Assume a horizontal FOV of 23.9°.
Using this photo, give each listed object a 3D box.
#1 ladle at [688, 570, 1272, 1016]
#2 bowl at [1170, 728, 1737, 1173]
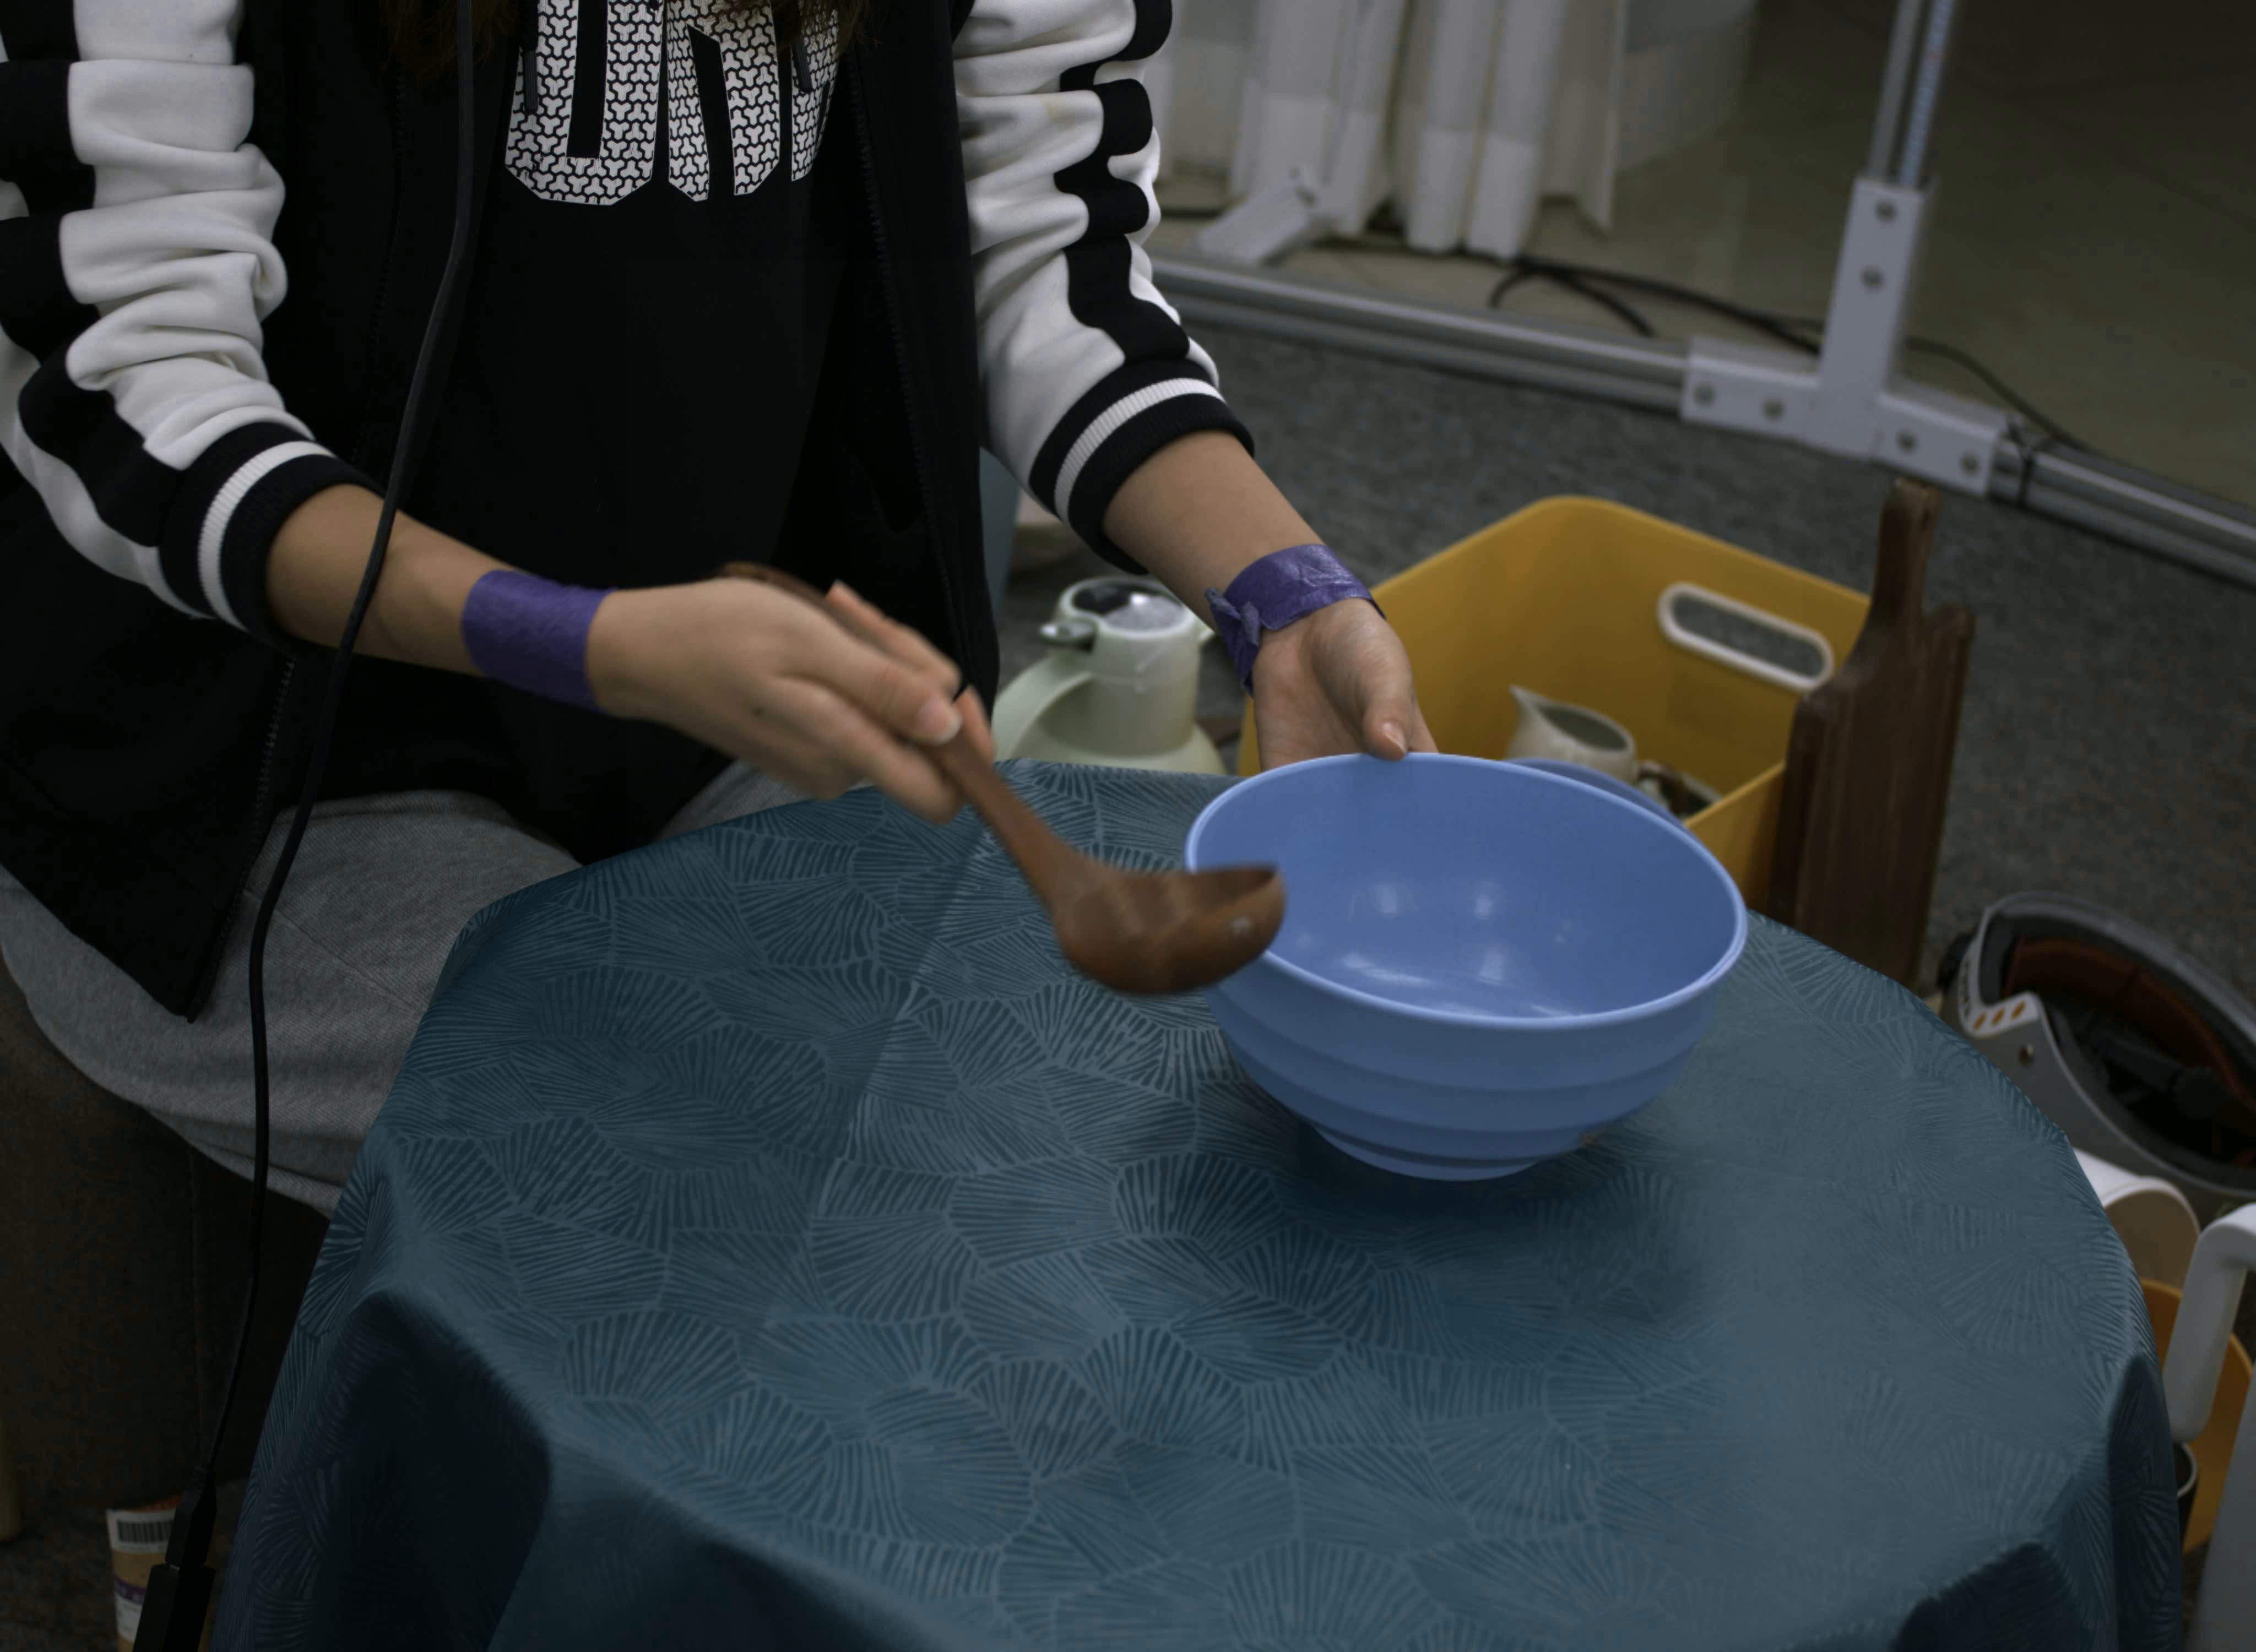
[{"bbox_3d":[-0.054,-0.023,1.741,0.076,0.065,0.262,-20,52,-40],"label":"ladle"},{"bbox_3d":[0.109,0.056,1.856,0.196,0.095,0.198,3,33,-2],"label":"bowl"}]
